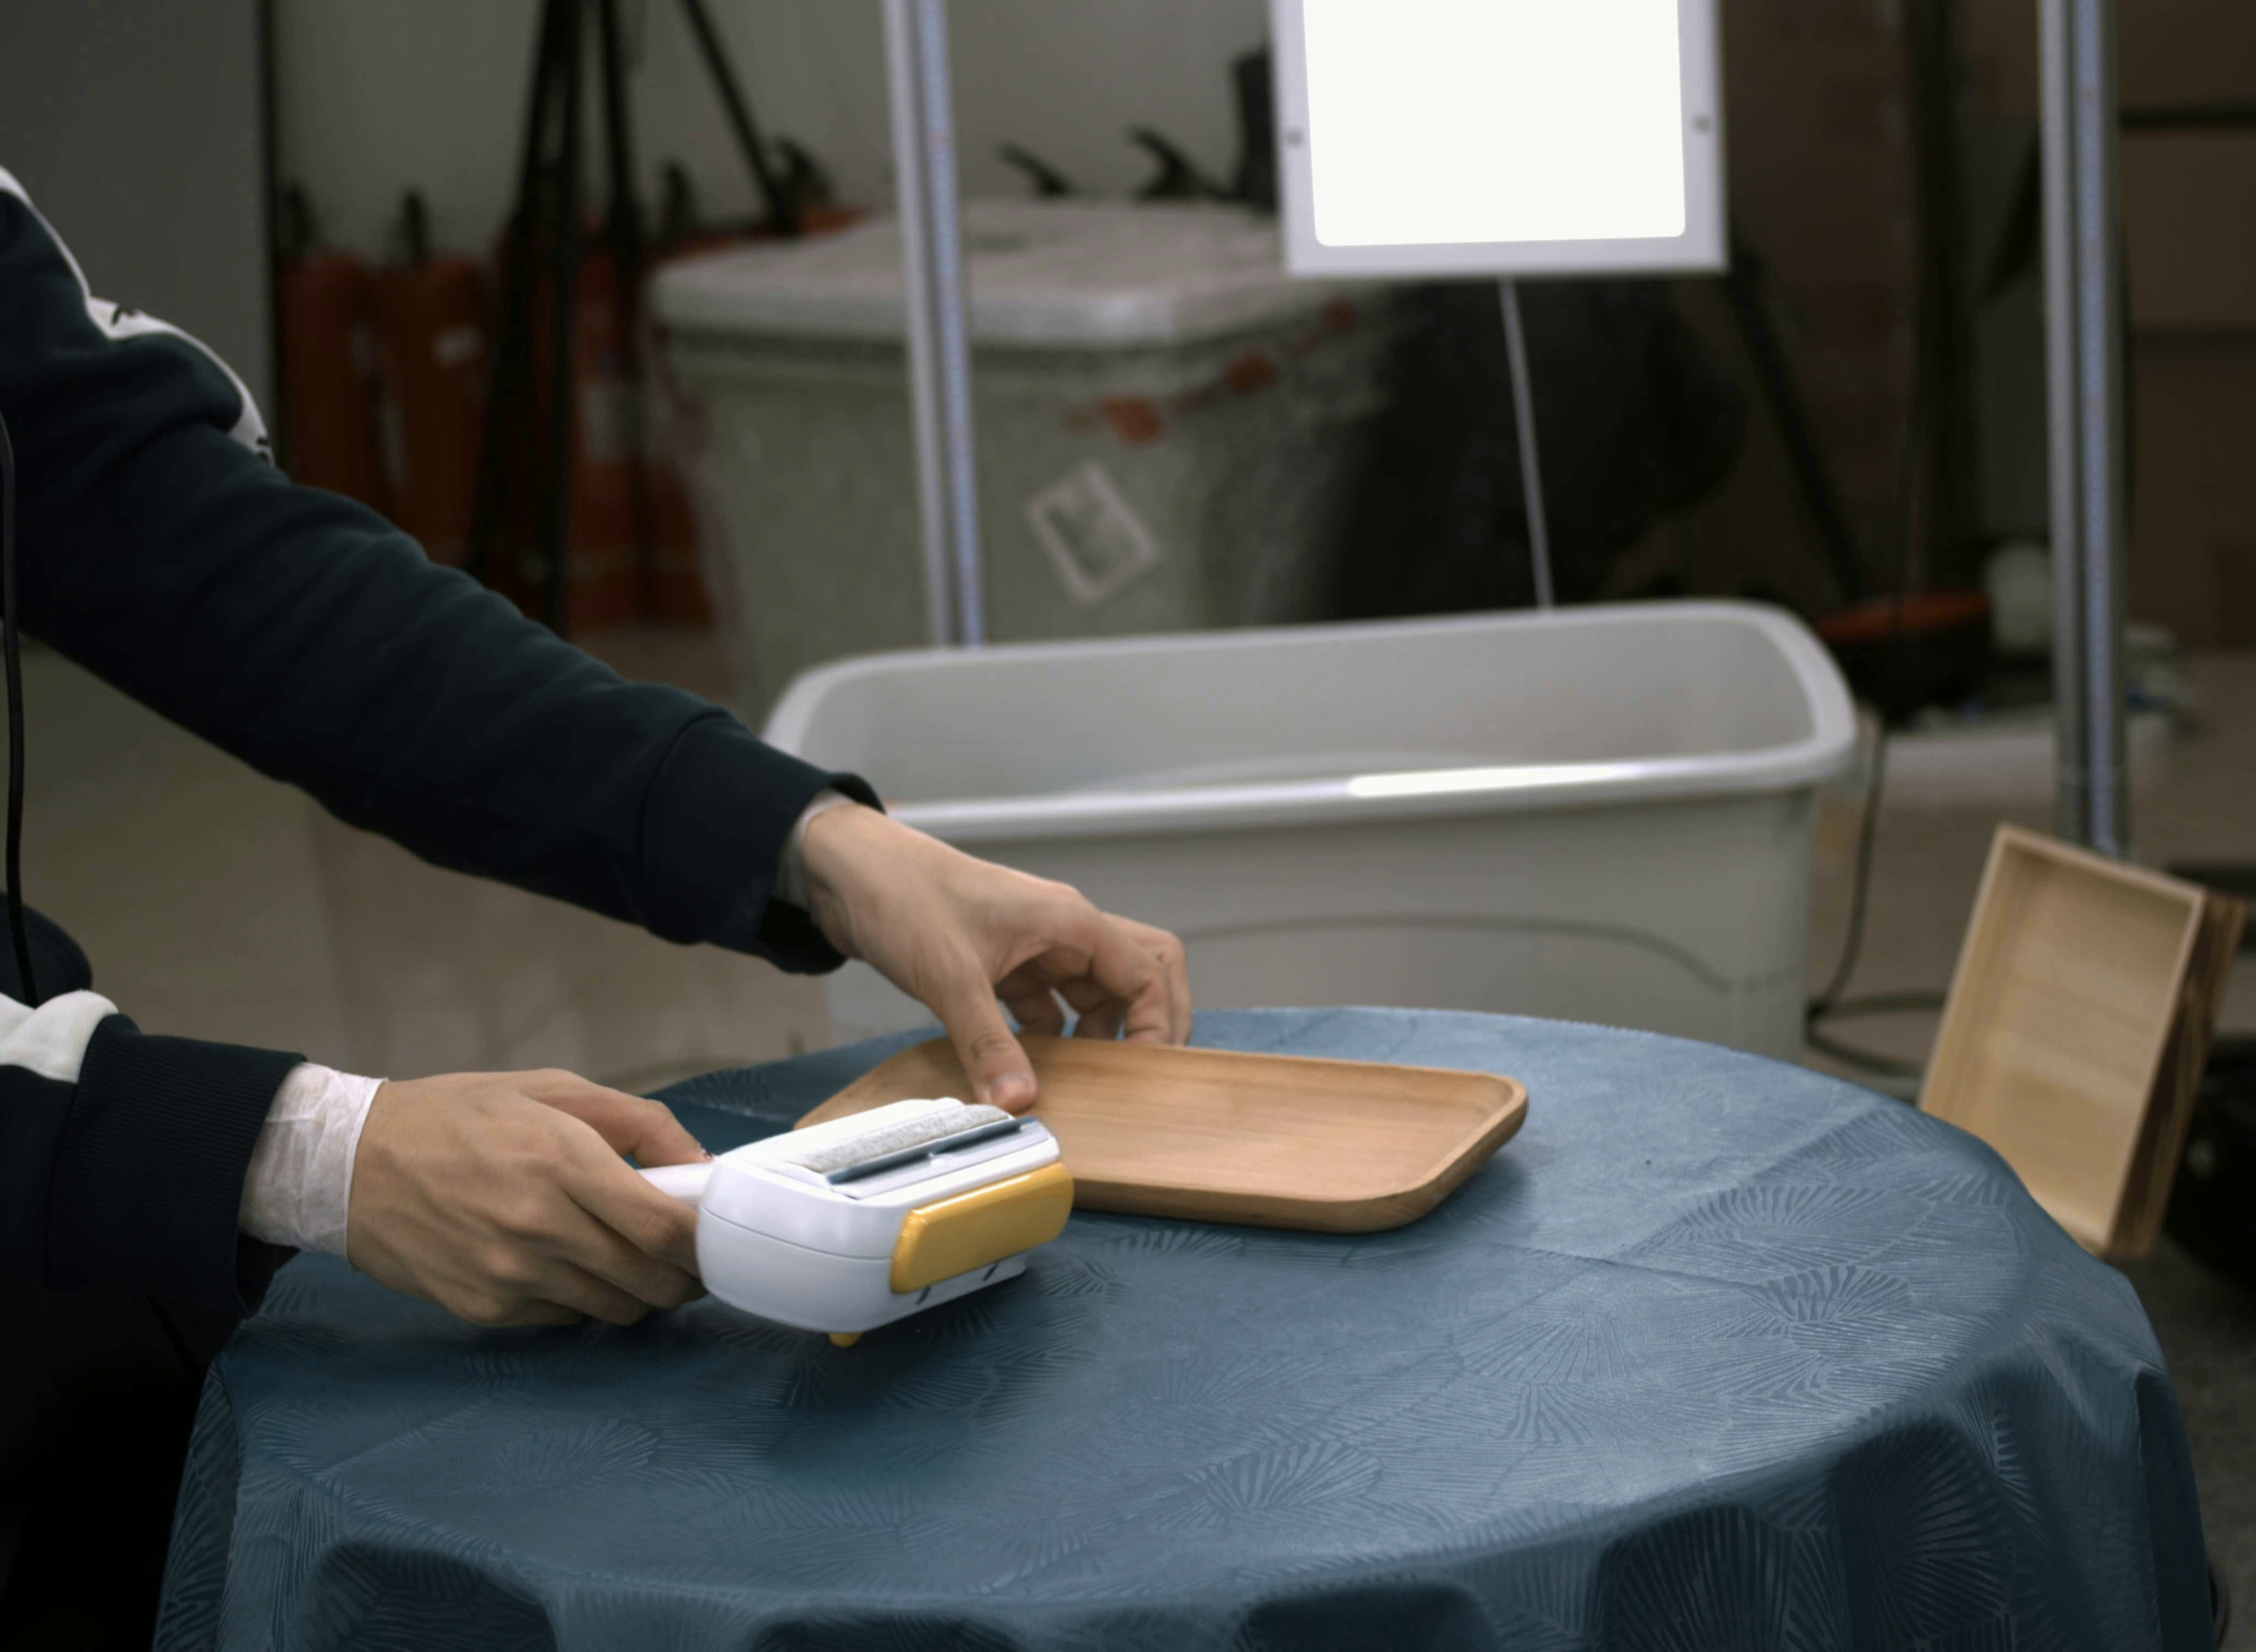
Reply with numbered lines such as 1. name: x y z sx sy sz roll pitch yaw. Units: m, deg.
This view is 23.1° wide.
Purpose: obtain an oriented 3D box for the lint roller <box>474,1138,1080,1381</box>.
1. lint roller: -0.130 0.143 1.784 0.196 0.074 0.189 -6 3 28

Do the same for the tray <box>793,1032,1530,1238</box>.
1. tray: 0.011 0.107 1.925 0.255 0.023 0.127 3 17 32
